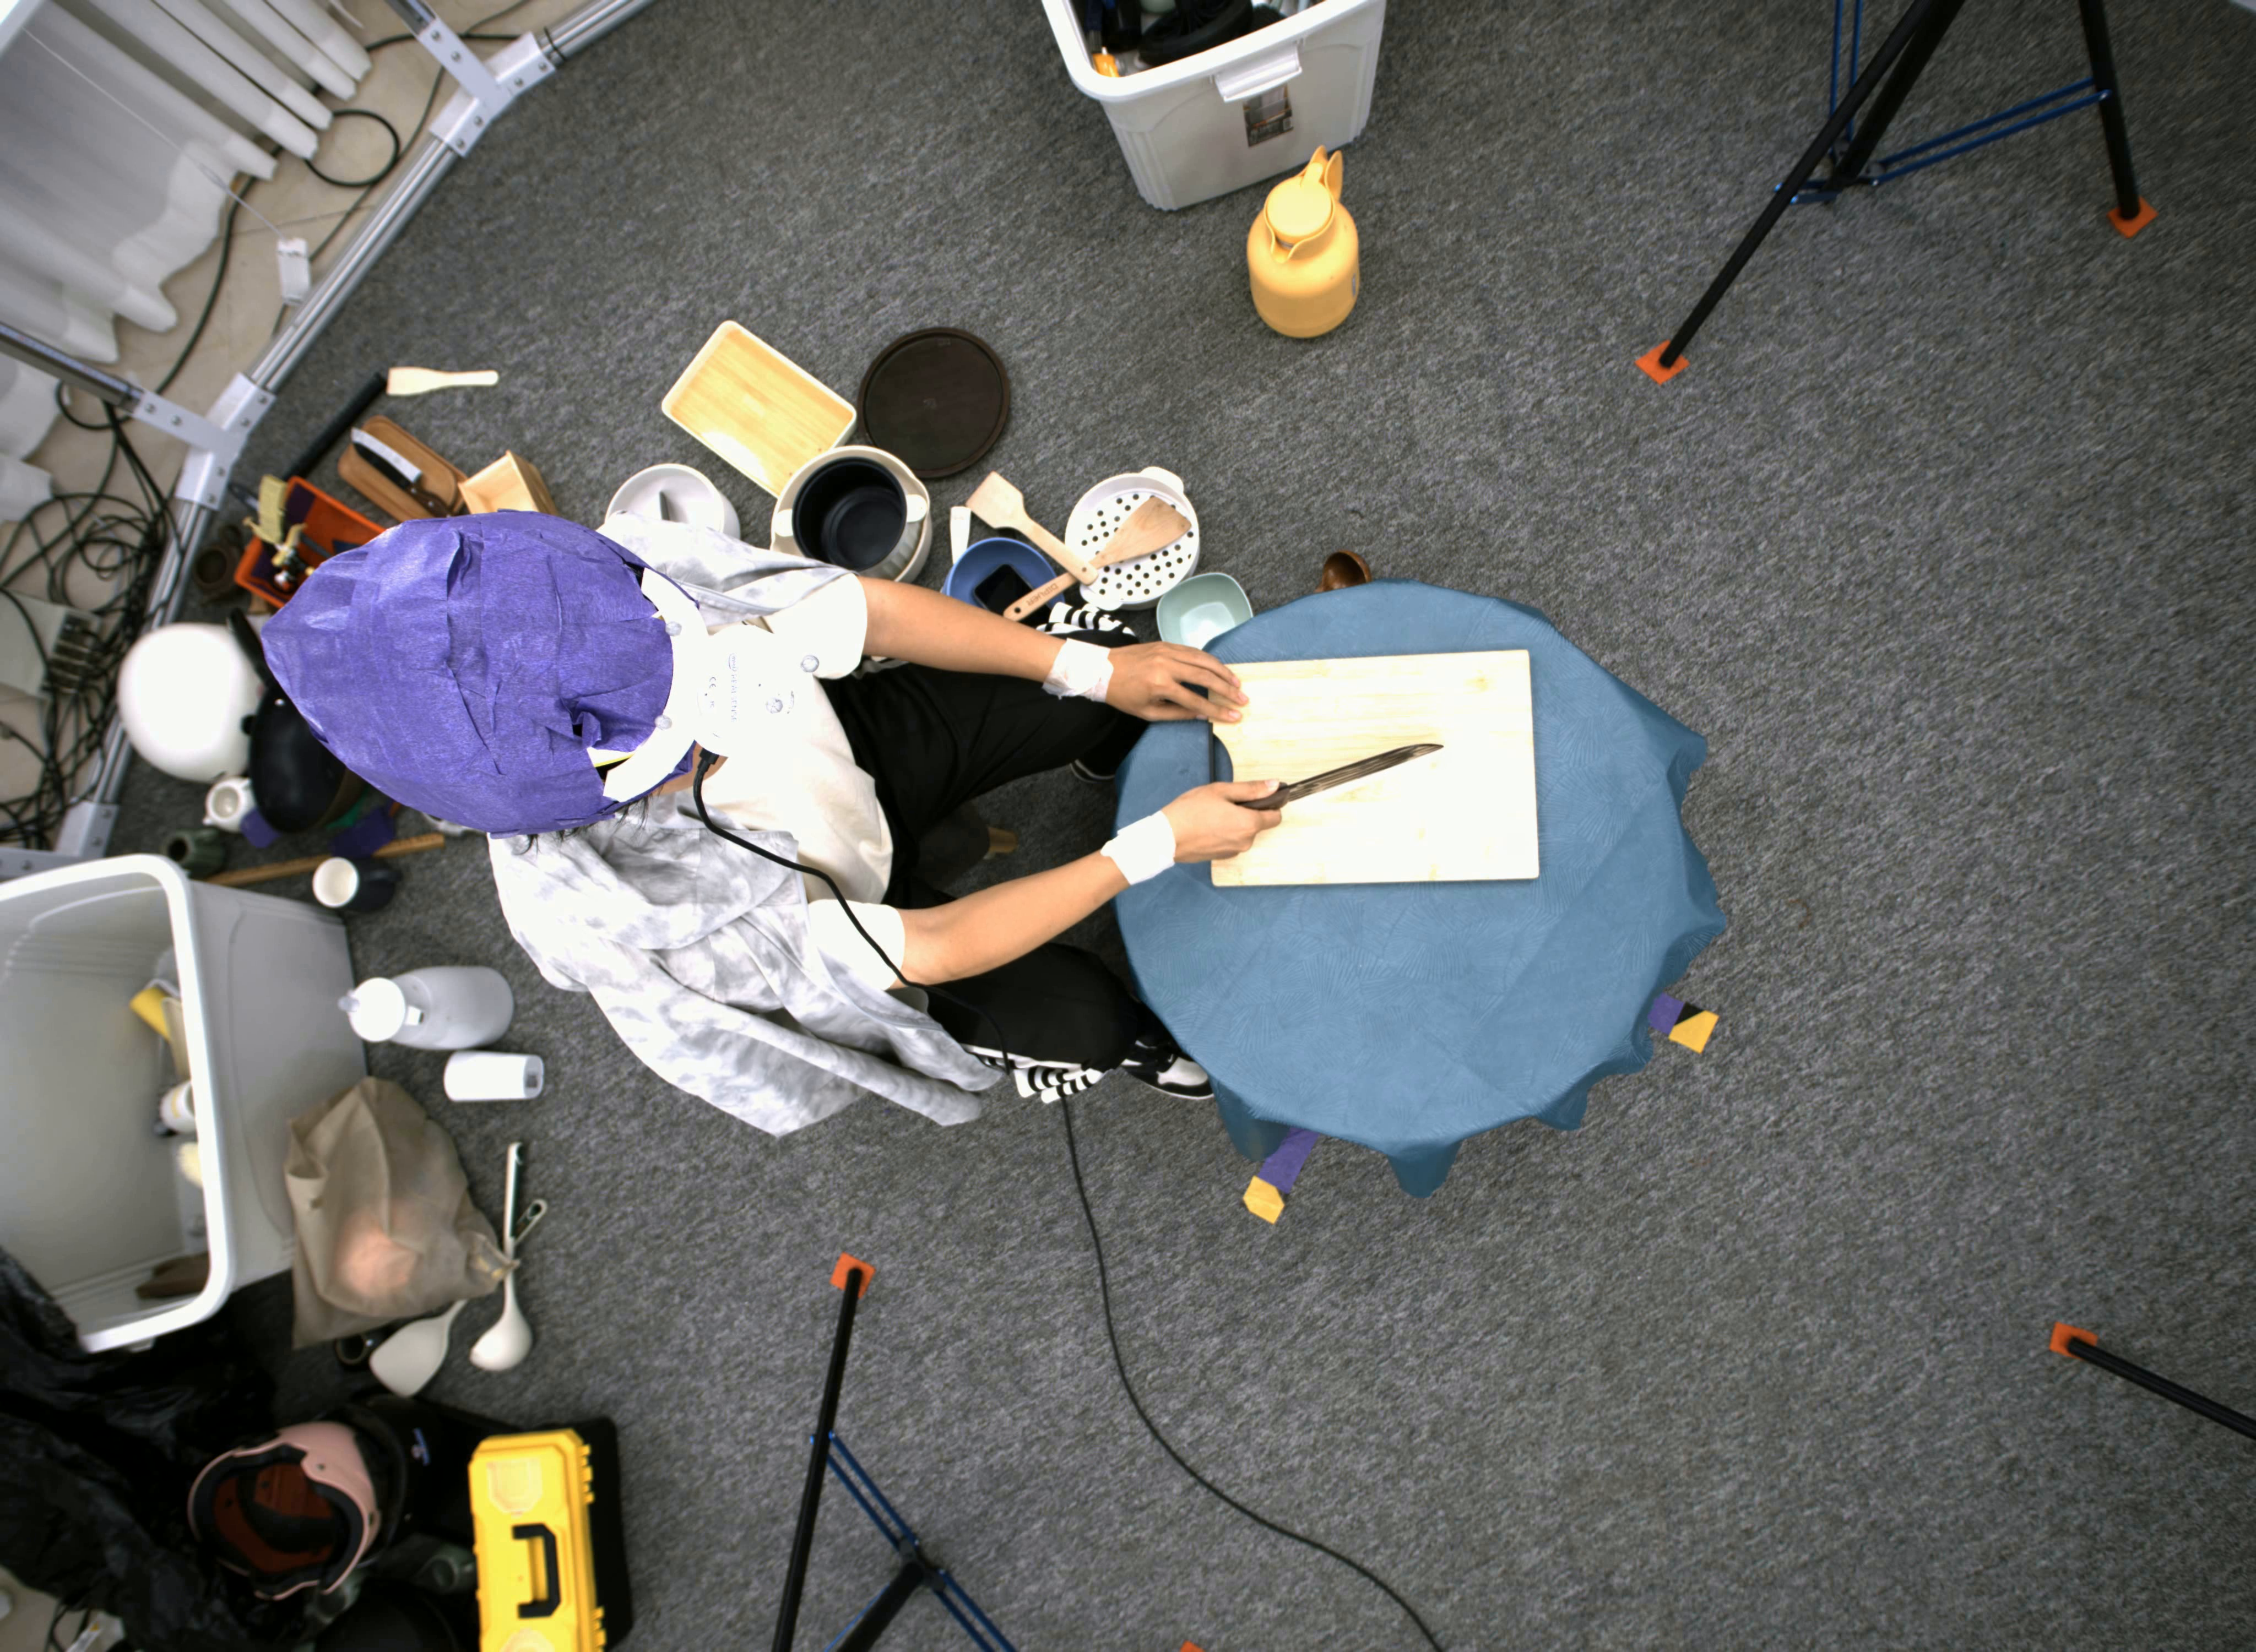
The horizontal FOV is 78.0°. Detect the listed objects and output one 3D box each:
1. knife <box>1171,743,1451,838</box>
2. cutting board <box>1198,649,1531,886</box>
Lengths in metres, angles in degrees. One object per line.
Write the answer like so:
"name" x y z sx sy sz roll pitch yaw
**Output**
"knife" 0.190 -0.038 1.423 0.301 0.069 0.023 -19 68 6
"cutting board" 0.250 -0.062 1.461 0.350 0.023 0.249 -3 86 11
